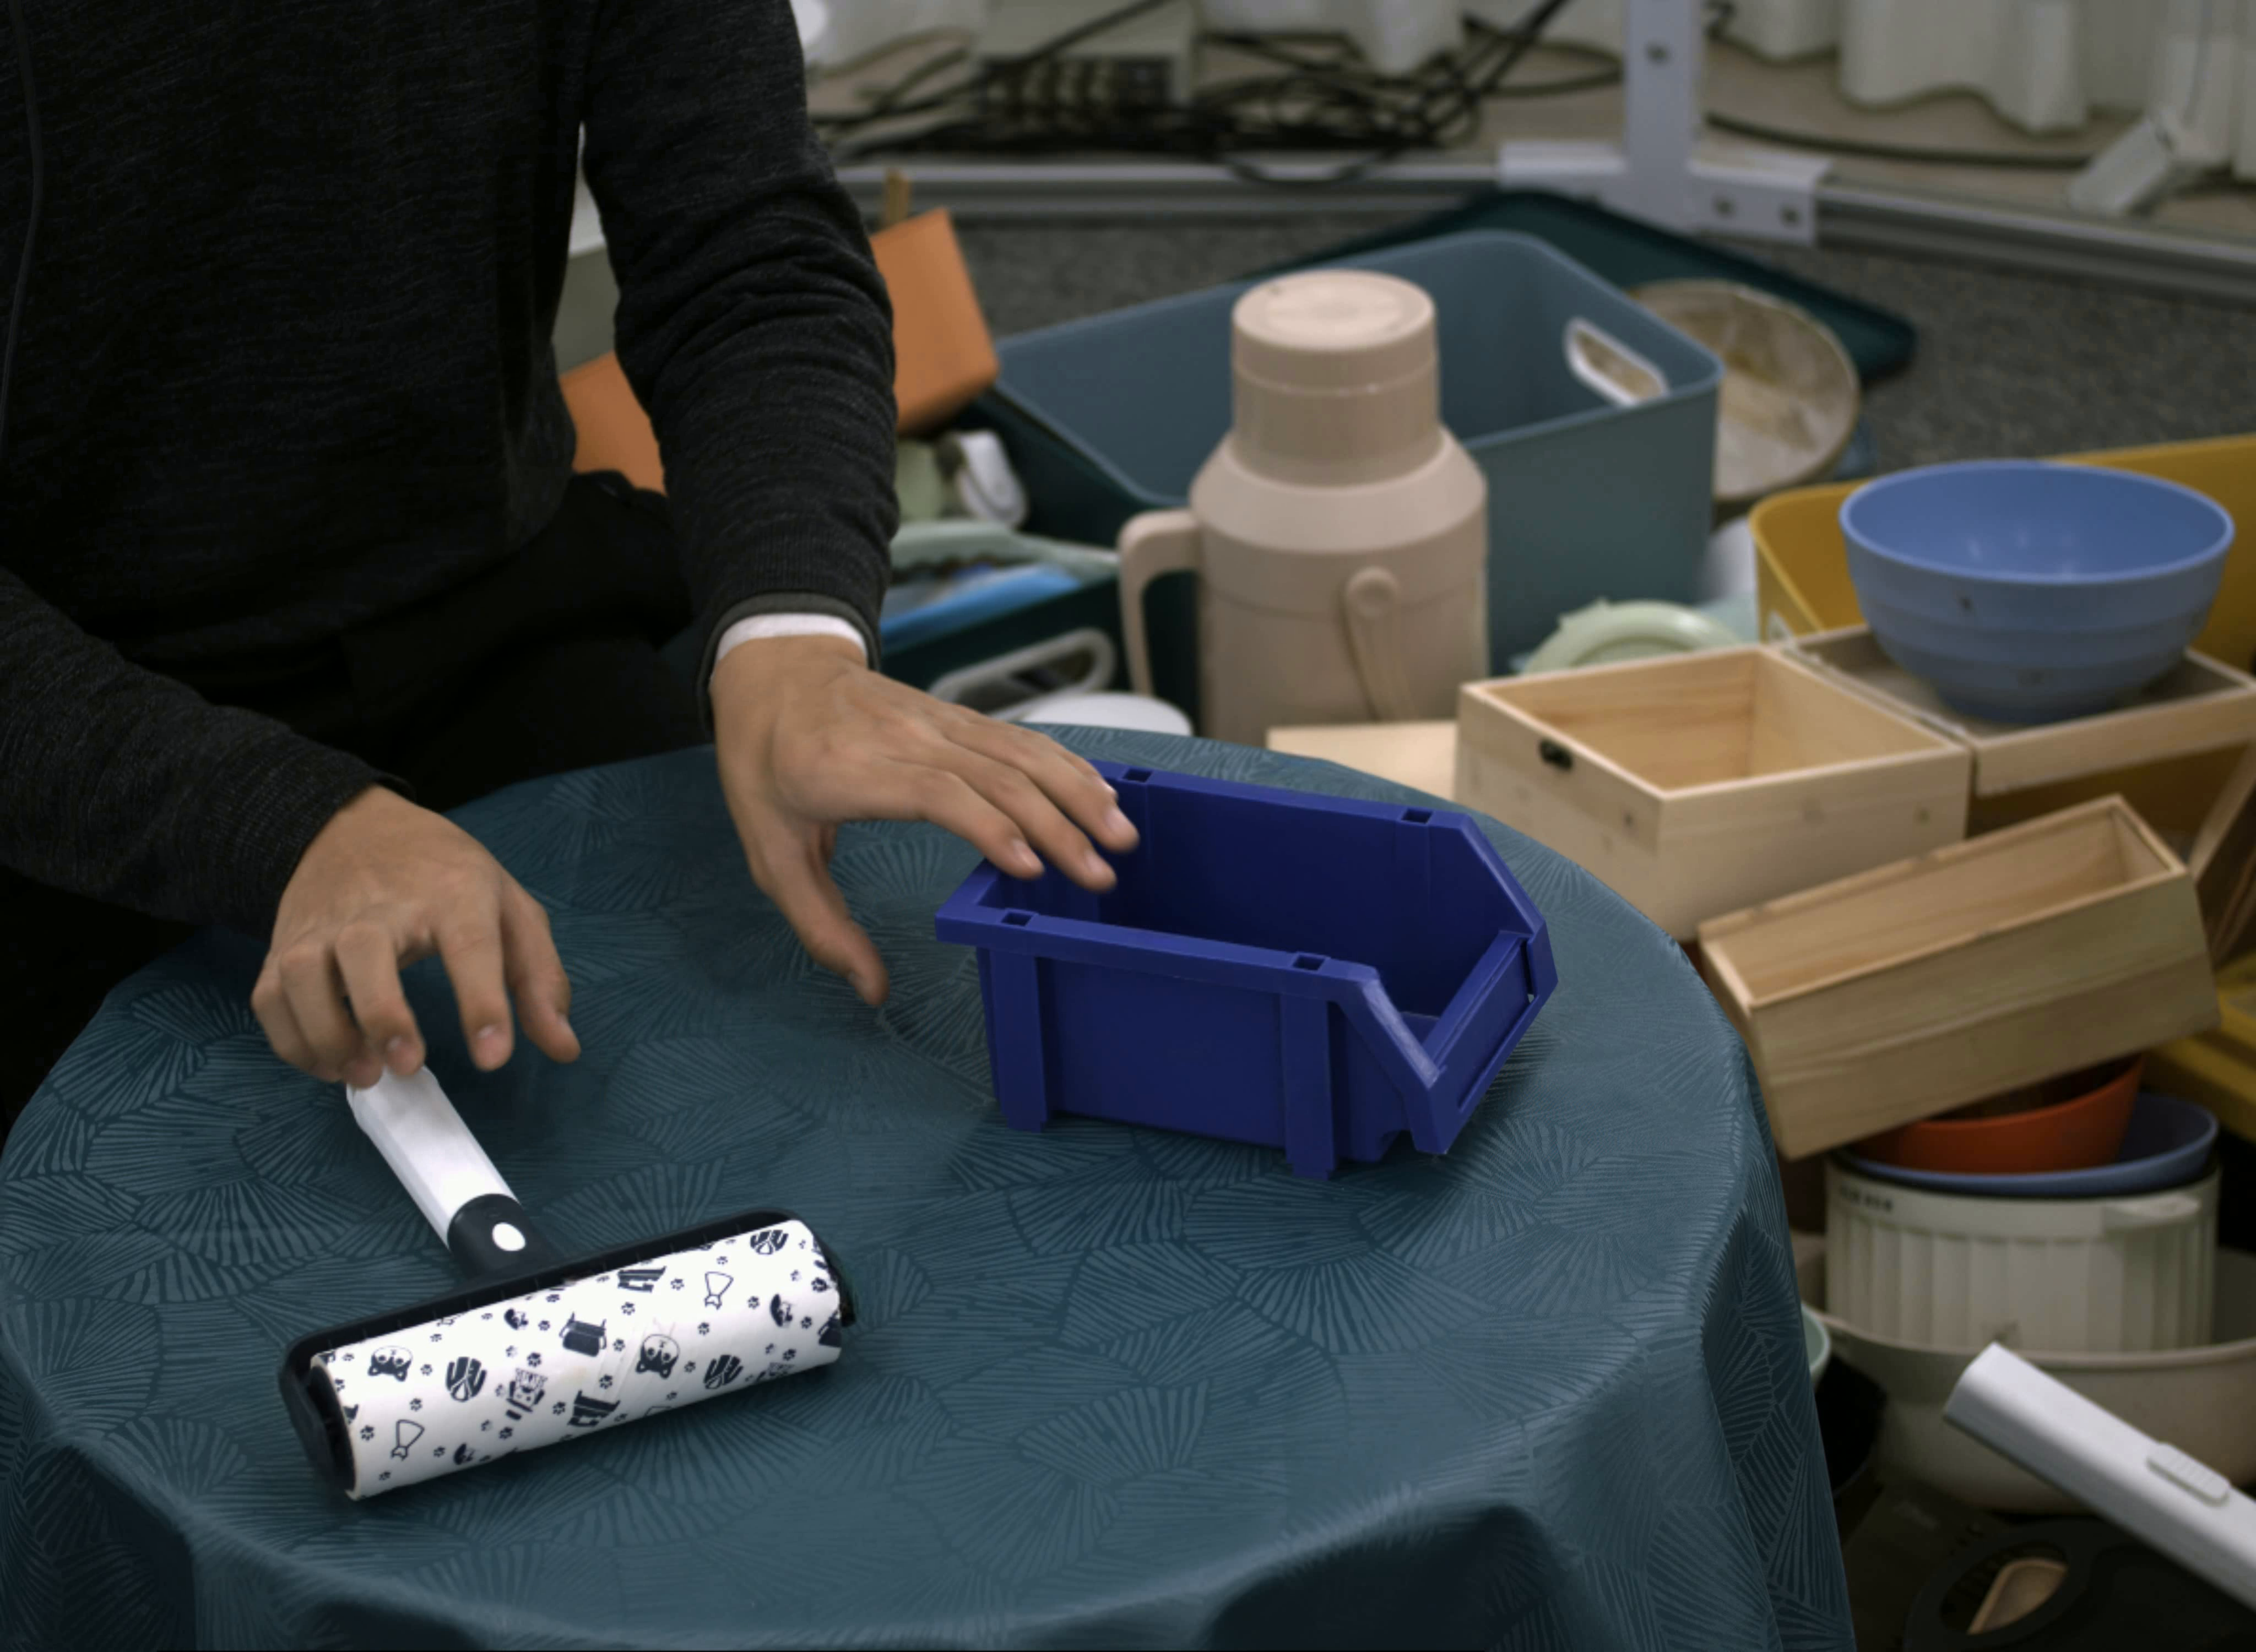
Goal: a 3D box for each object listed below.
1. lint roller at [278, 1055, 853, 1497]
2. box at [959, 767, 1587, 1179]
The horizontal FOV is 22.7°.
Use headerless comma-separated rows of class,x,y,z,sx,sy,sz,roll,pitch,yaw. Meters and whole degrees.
lint roller,-0.214,0.127,1.827,0.177,0.050,0.248,-15,28,-20
box,0.052,0.049,1.908,0.178,0.081,0.126,6,28,23
